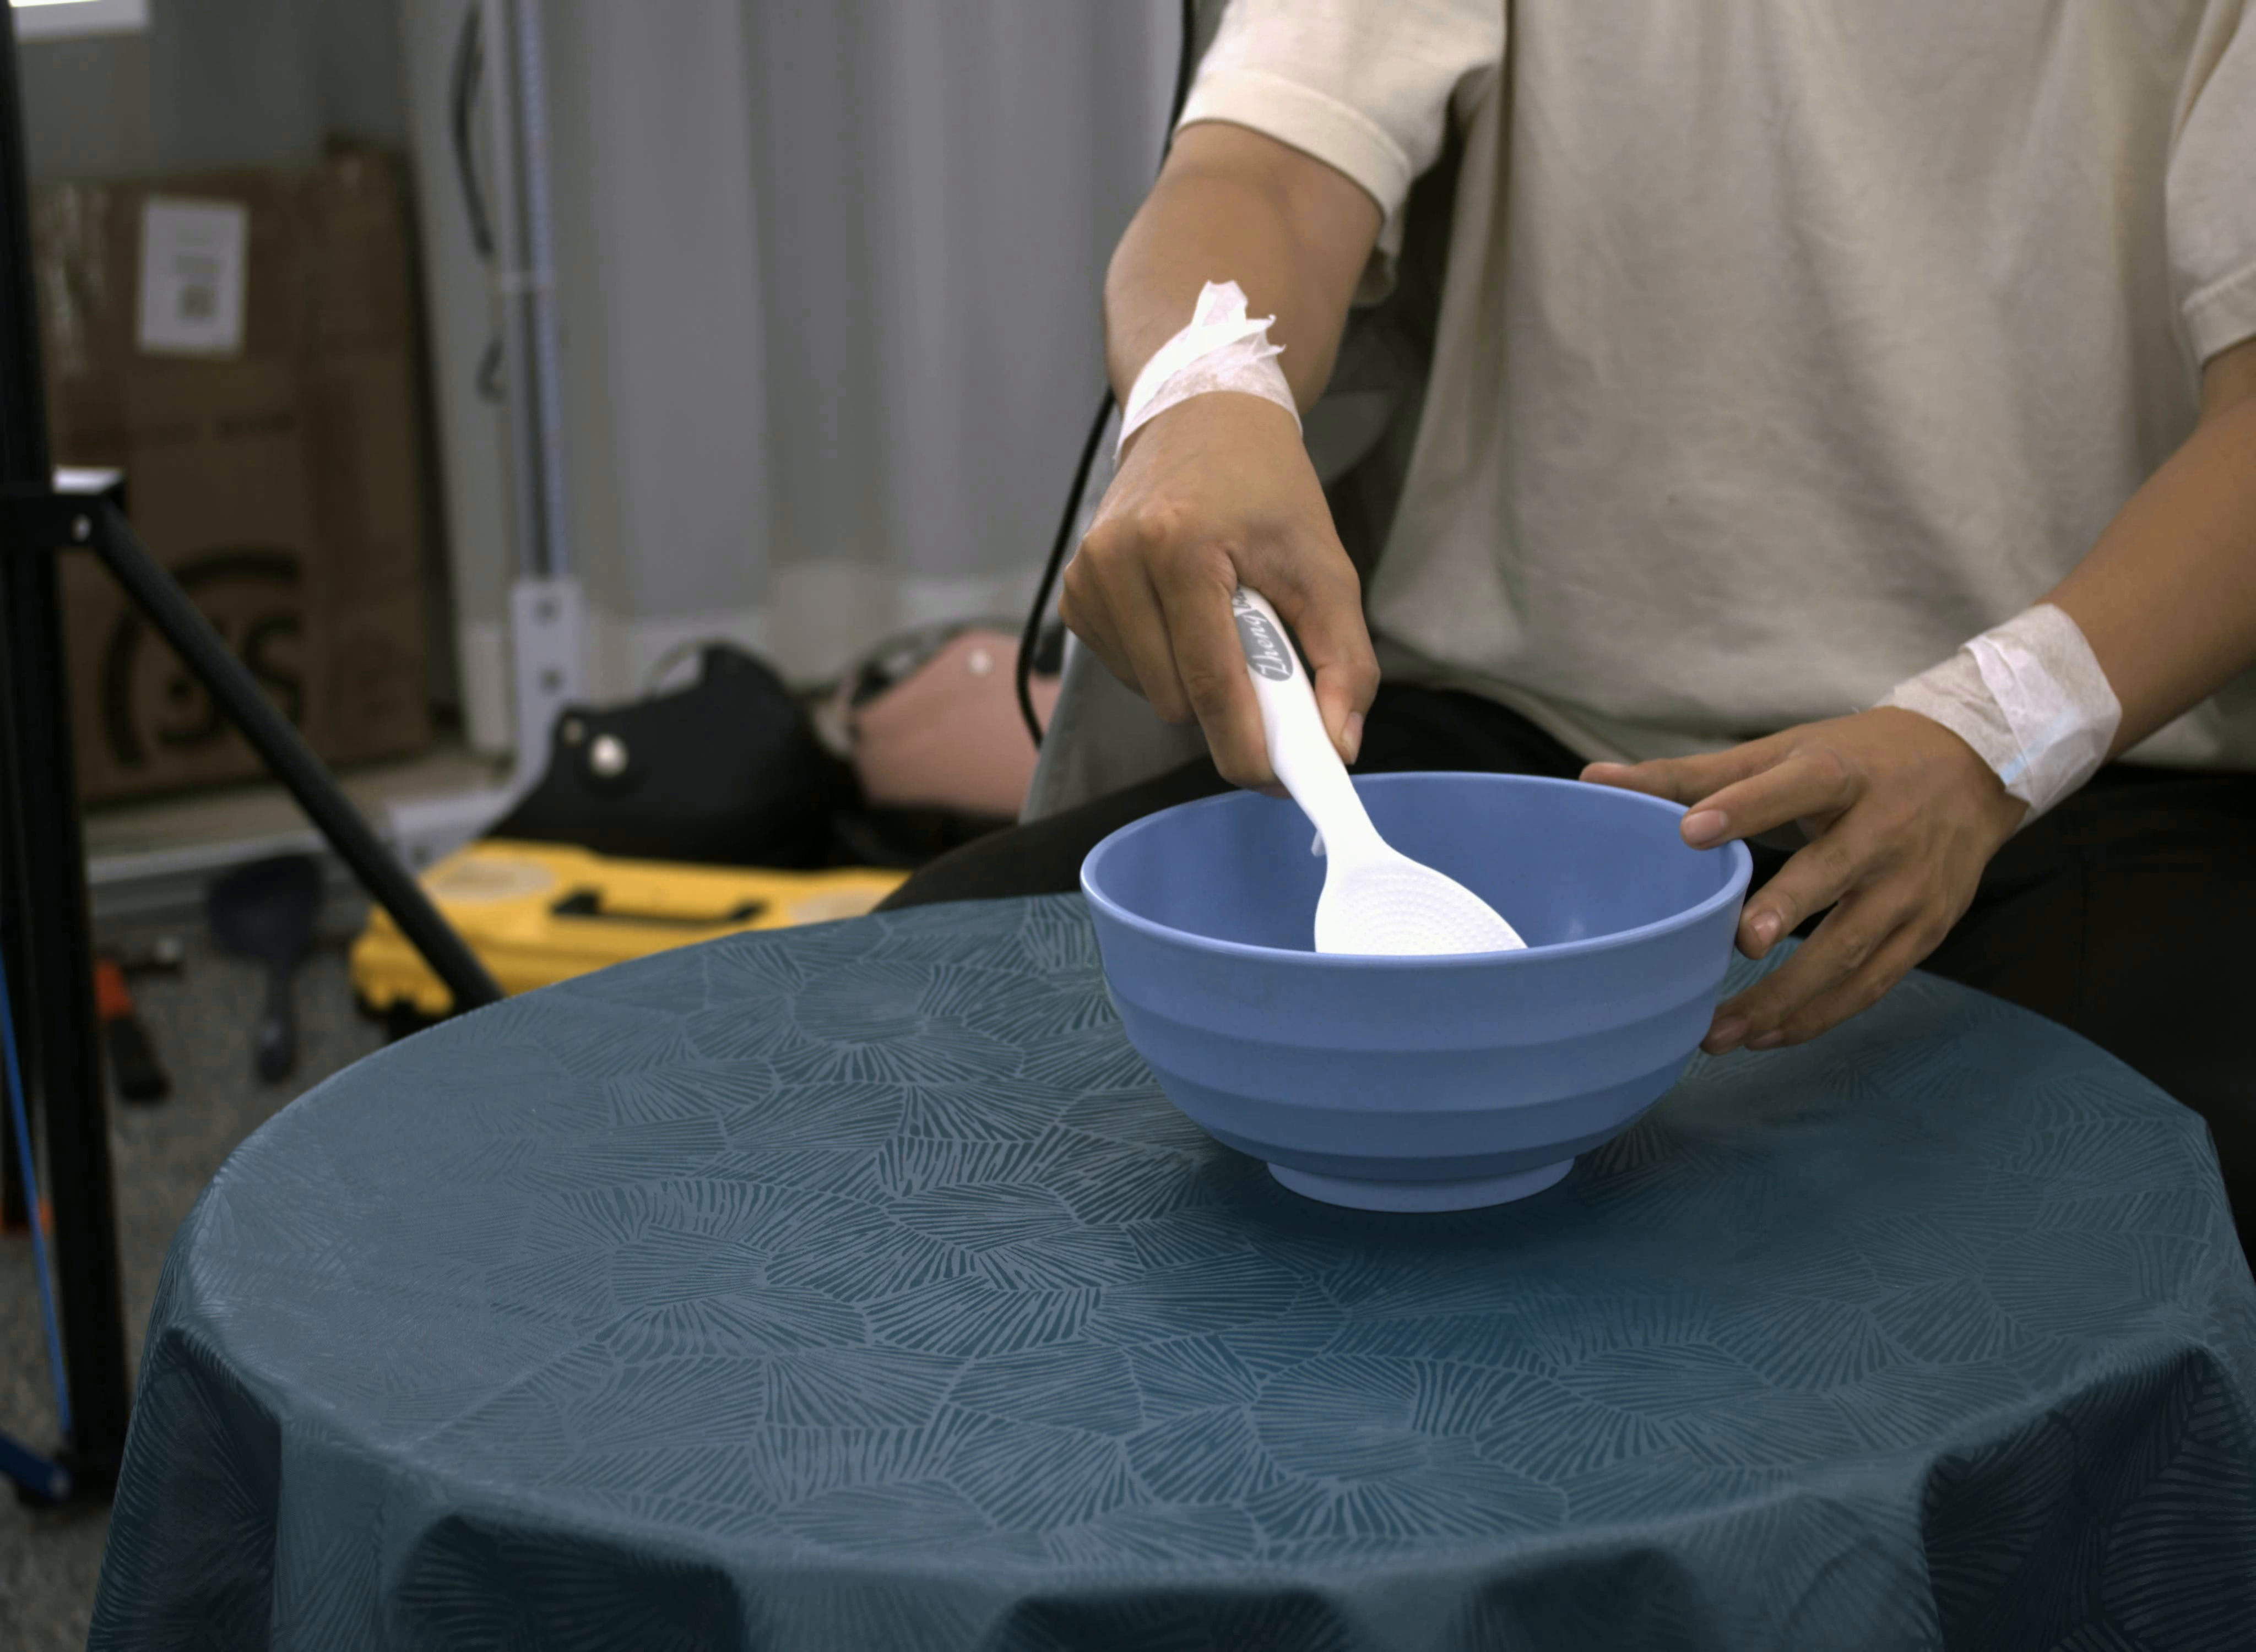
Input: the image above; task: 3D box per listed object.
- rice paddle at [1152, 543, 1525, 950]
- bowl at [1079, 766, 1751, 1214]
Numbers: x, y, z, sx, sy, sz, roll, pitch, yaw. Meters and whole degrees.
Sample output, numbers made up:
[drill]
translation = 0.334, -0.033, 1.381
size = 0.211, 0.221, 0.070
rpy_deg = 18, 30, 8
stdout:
[rice paddle]
translation = 0.067, 0.003, 1.576
size = 0.067, 0.029, 0.209
rpy_deg = -17, 59, -22
[bowl]
translation = 0.086, 0.054, 1.558
size = 0.195, 0.095, 0.197
rpy_deg = -4, 17, 0
